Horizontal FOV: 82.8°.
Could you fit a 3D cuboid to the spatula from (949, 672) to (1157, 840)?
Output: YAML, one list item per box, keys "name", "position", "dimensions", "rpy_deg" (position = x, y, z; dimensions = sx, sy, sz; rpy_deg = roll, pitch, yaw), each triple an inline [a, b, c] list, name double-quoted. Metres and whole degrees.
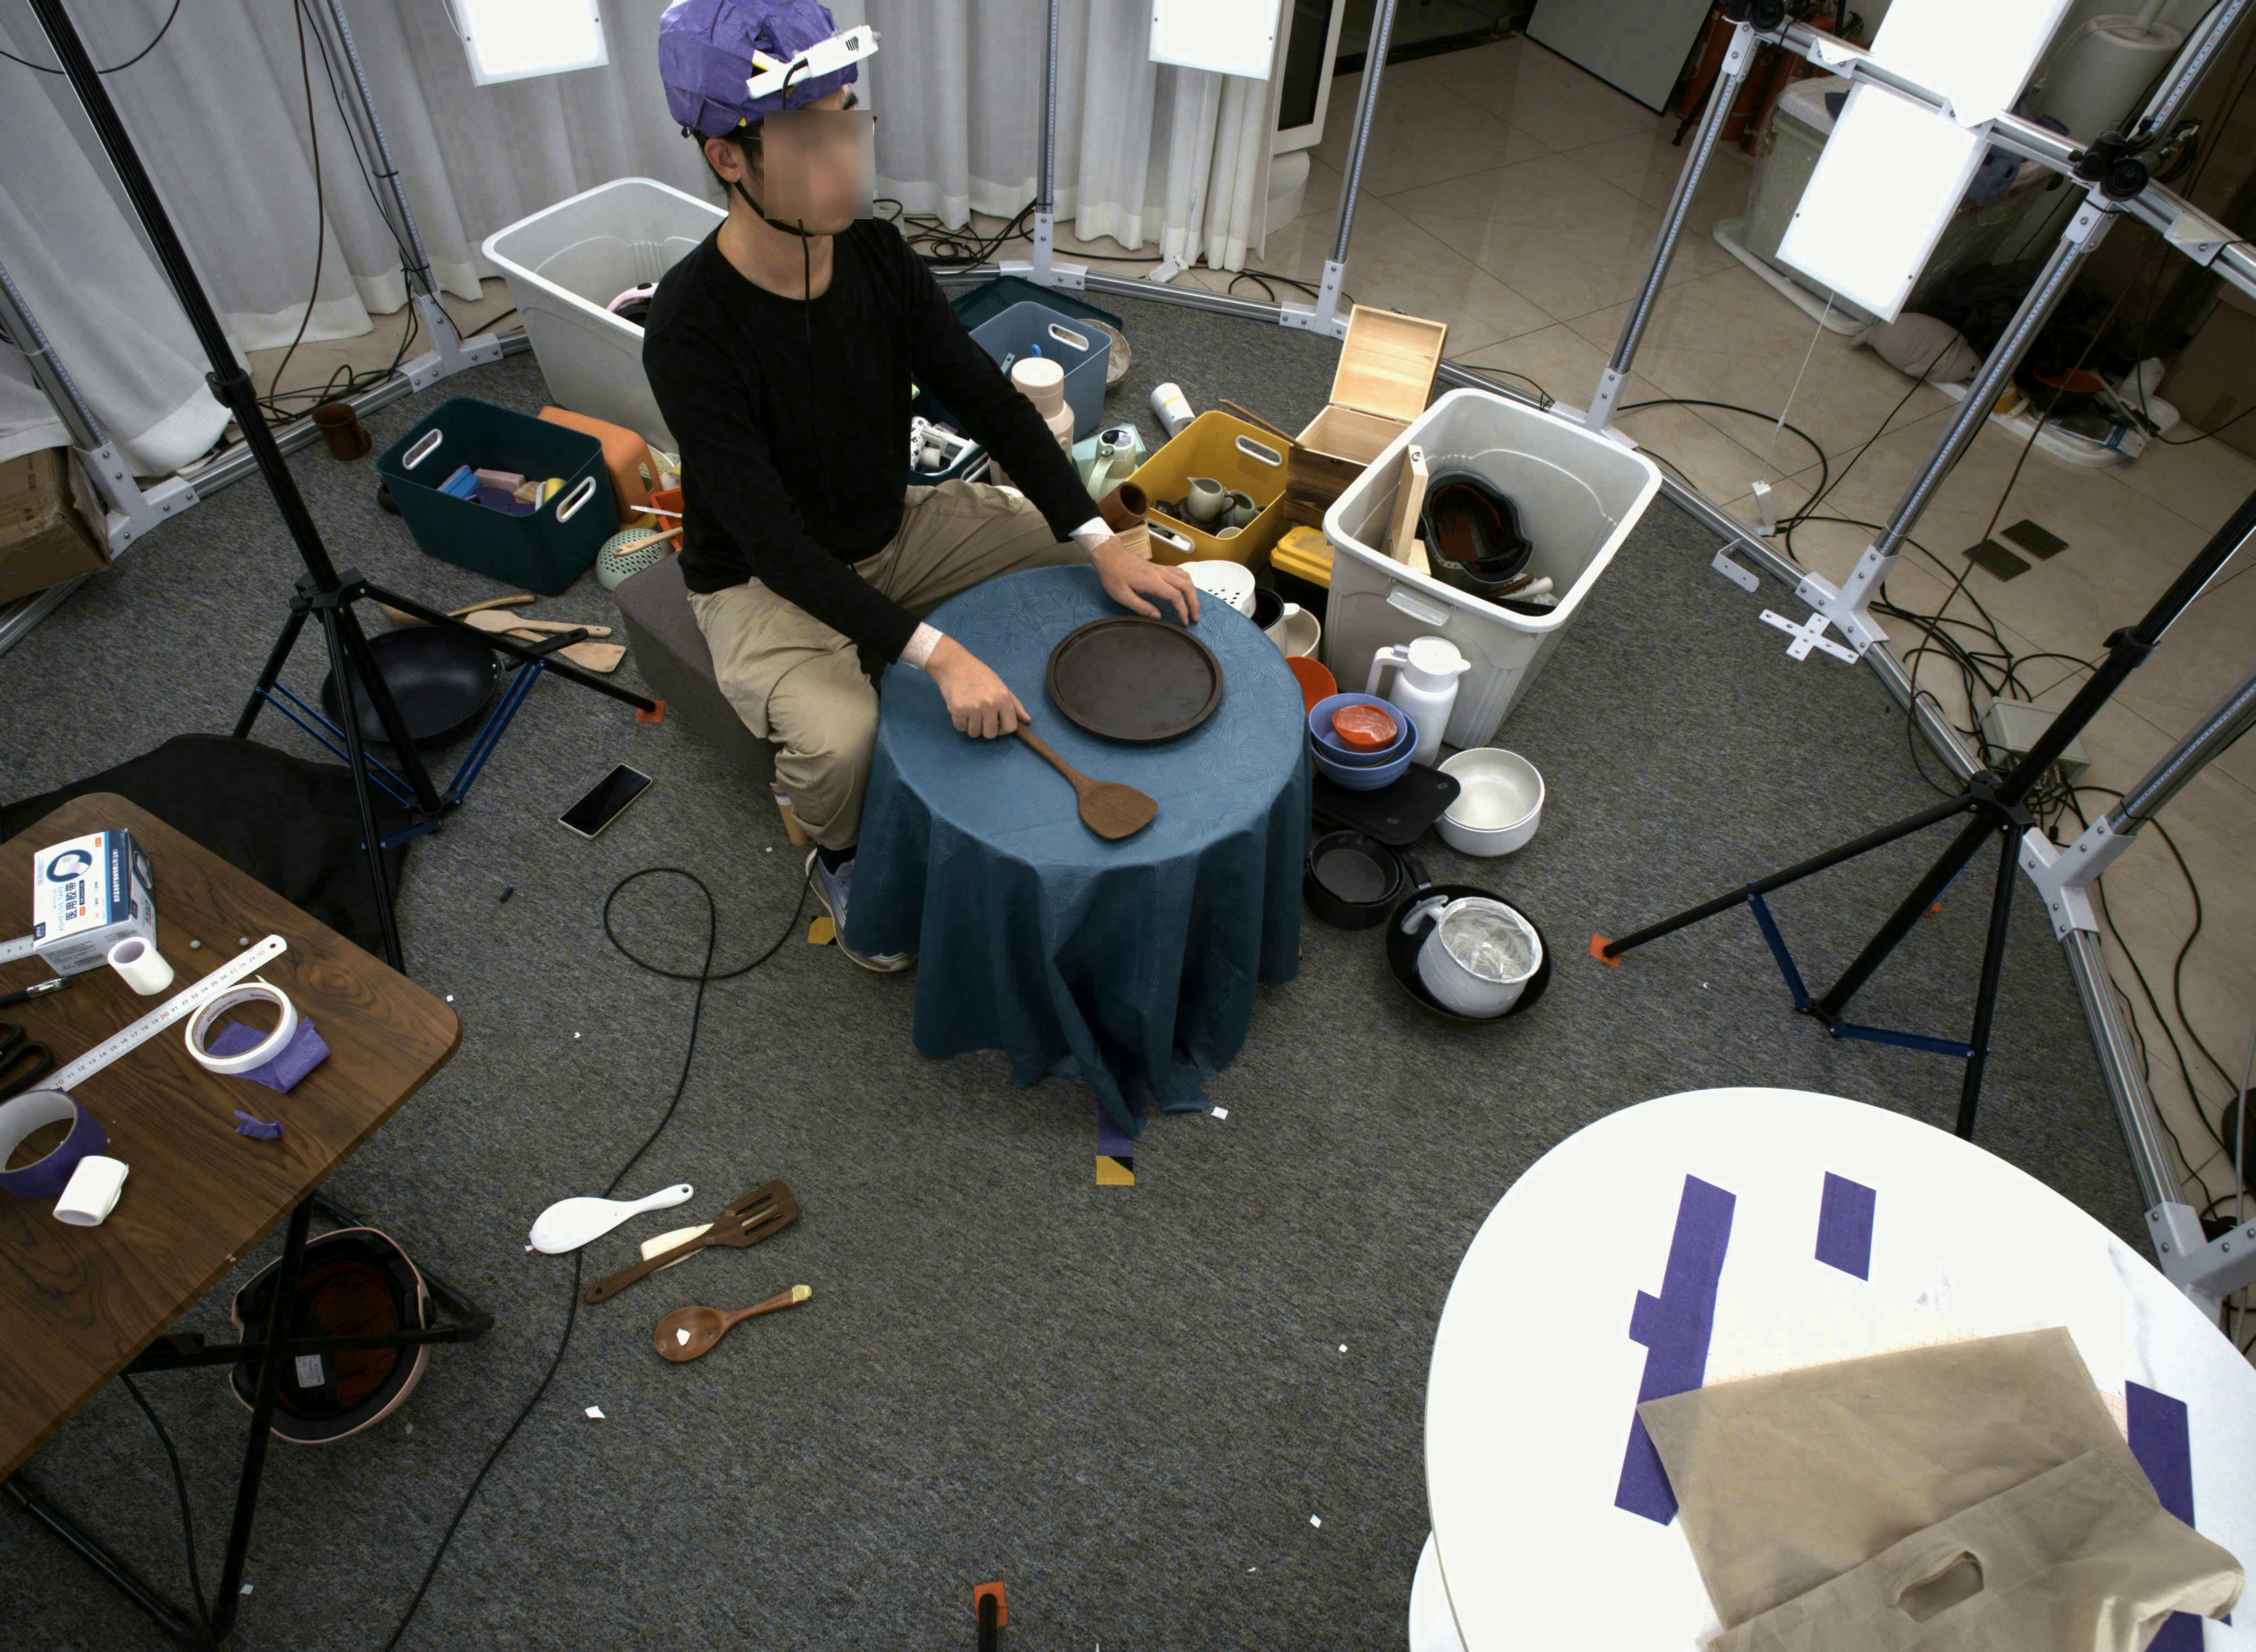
- name: "spatula"
  position: [-0.118, -0.106, 1.745]
  dimensions: [0.097, 0.015, 0.392]
  rpy_deg: [-34, 59, -29]

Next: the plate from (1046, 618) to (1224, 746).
- name: "plate"
  position: [0.010, -0.209, 1.836]
  dimensions: [0.254, 0.028, 0.261]
  rpy_deg: [2, 50, -2]
